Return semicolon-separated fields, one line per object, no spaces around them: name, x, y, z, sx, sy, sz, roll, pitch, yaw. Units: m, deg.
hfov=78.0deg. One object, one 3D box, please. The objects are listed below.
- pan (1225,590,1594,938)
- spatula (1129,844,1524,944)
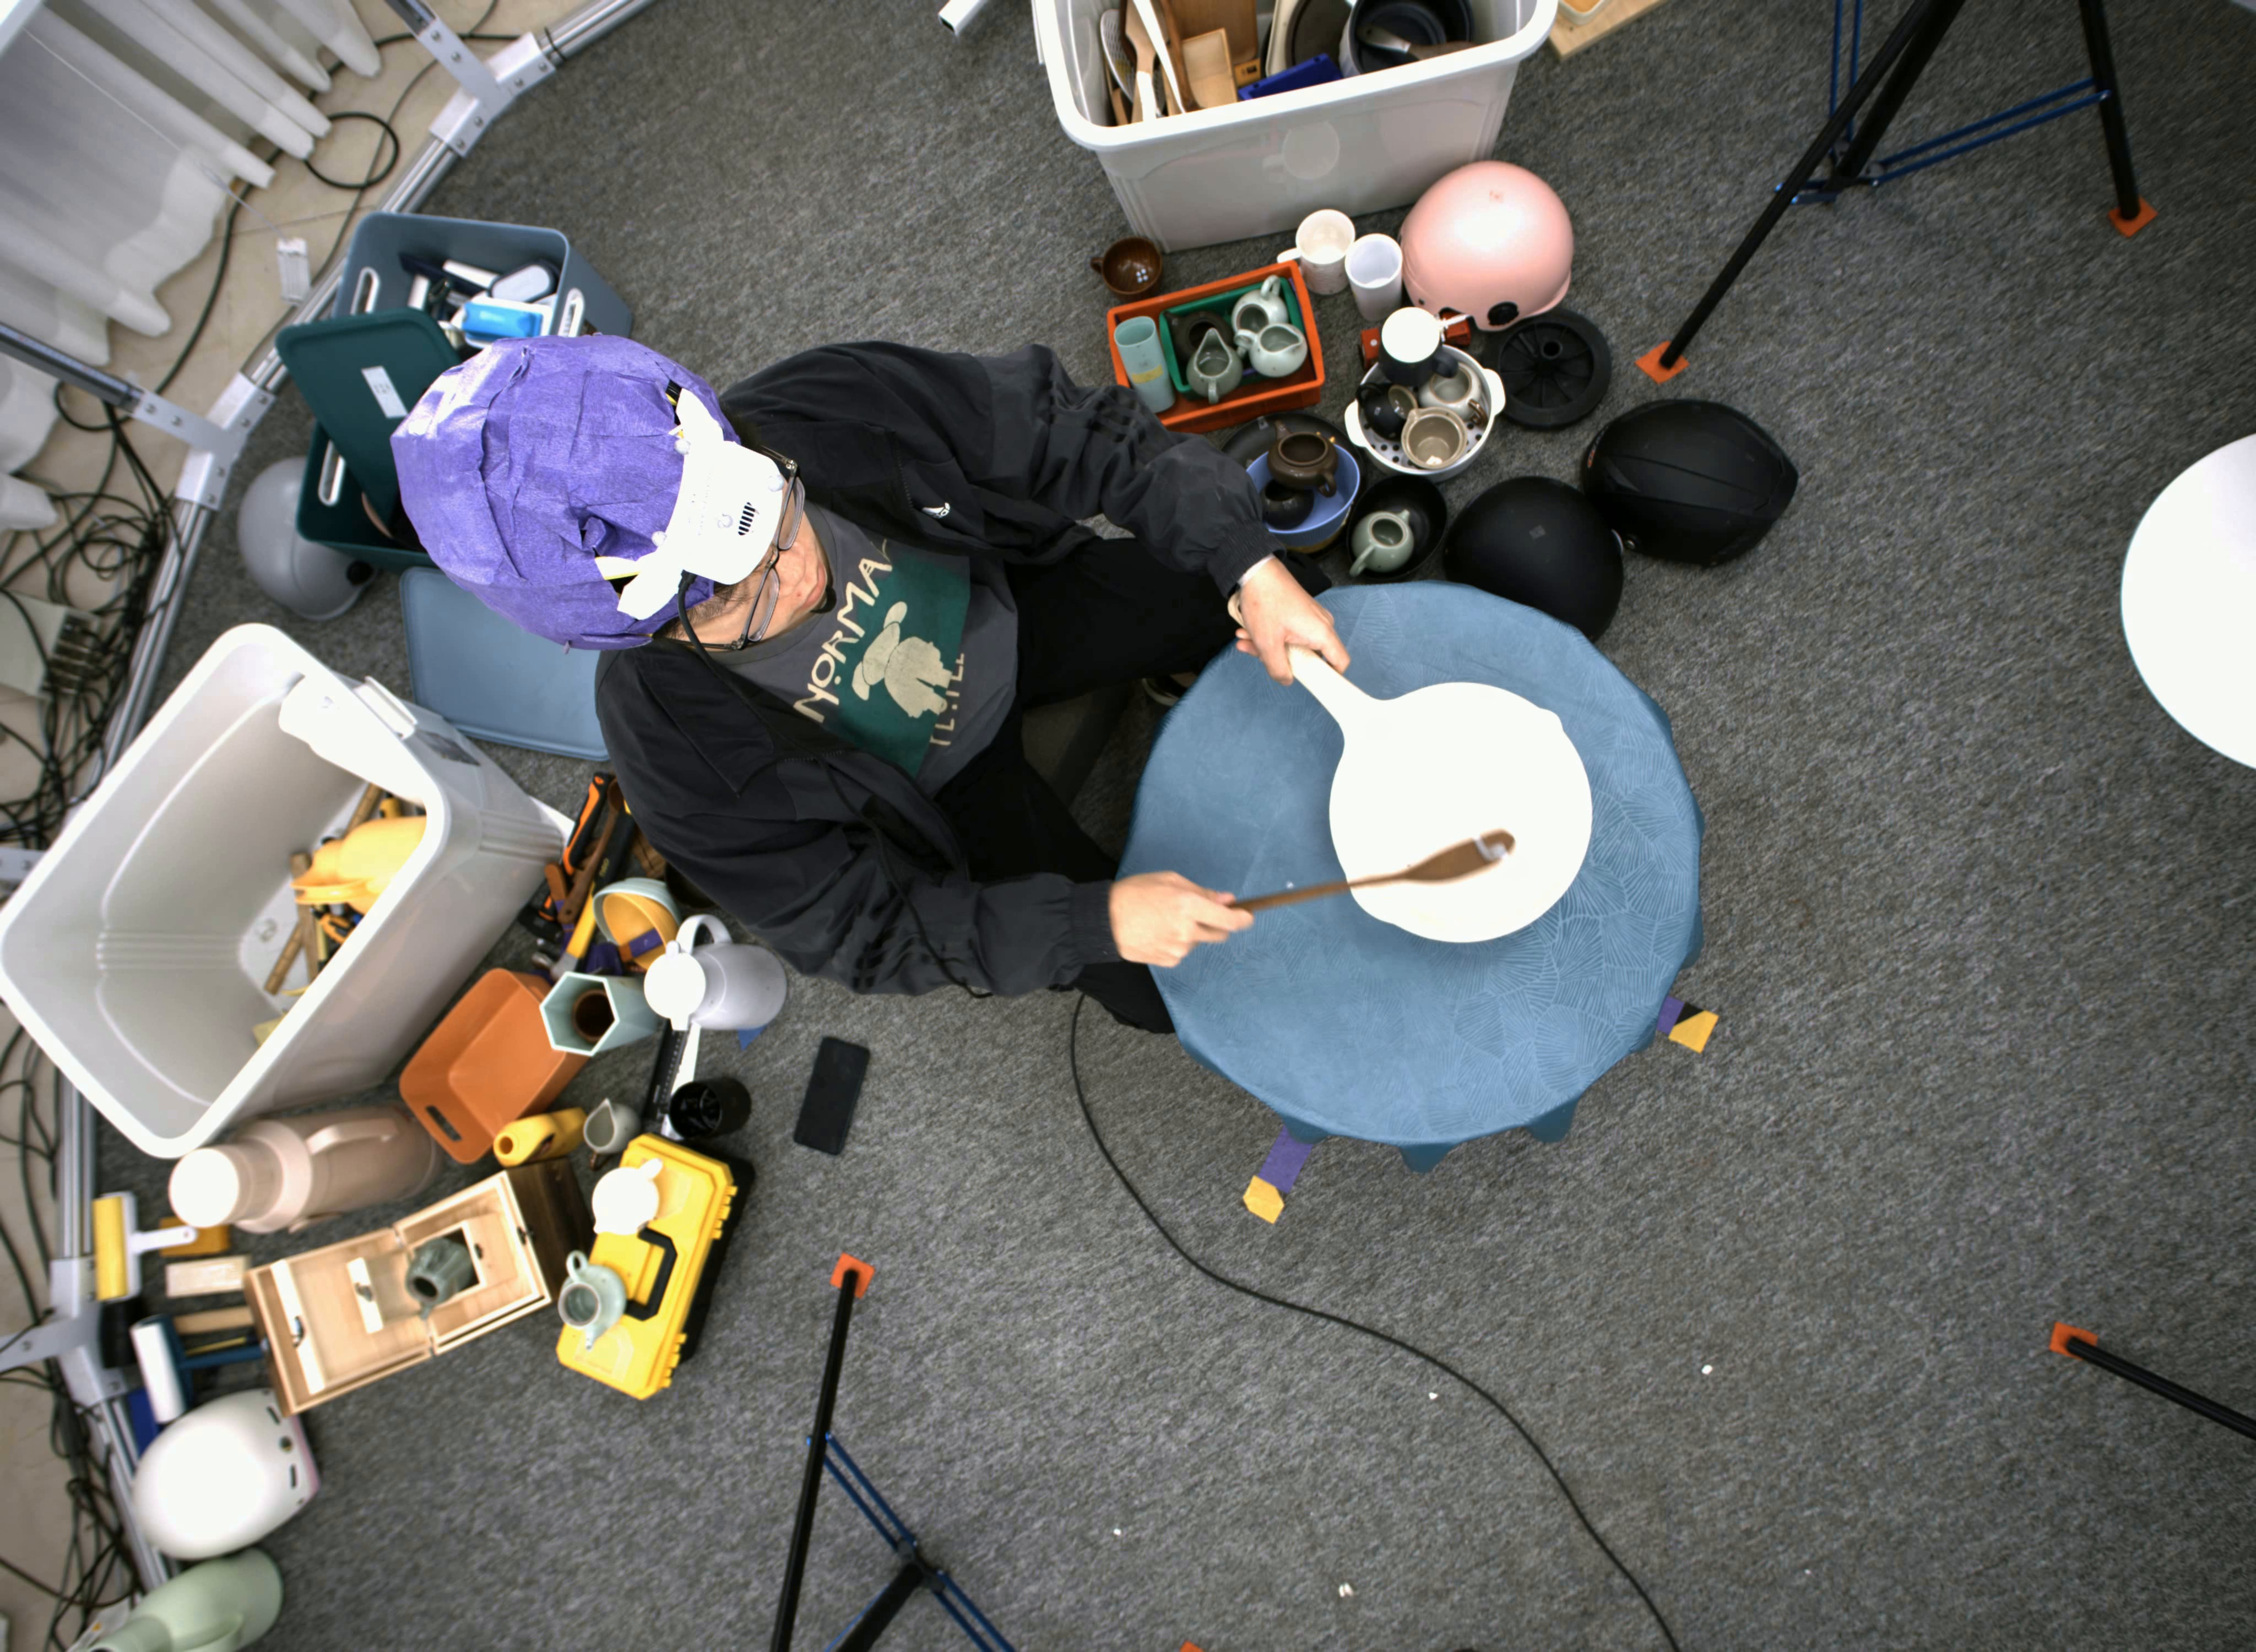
pan;0.269;-0.085;1.372;0.432;0.101;0.268;46;111;11
spatula;0.180;0.070;1.312;0.389;0.094;0.016;-12;106;18
